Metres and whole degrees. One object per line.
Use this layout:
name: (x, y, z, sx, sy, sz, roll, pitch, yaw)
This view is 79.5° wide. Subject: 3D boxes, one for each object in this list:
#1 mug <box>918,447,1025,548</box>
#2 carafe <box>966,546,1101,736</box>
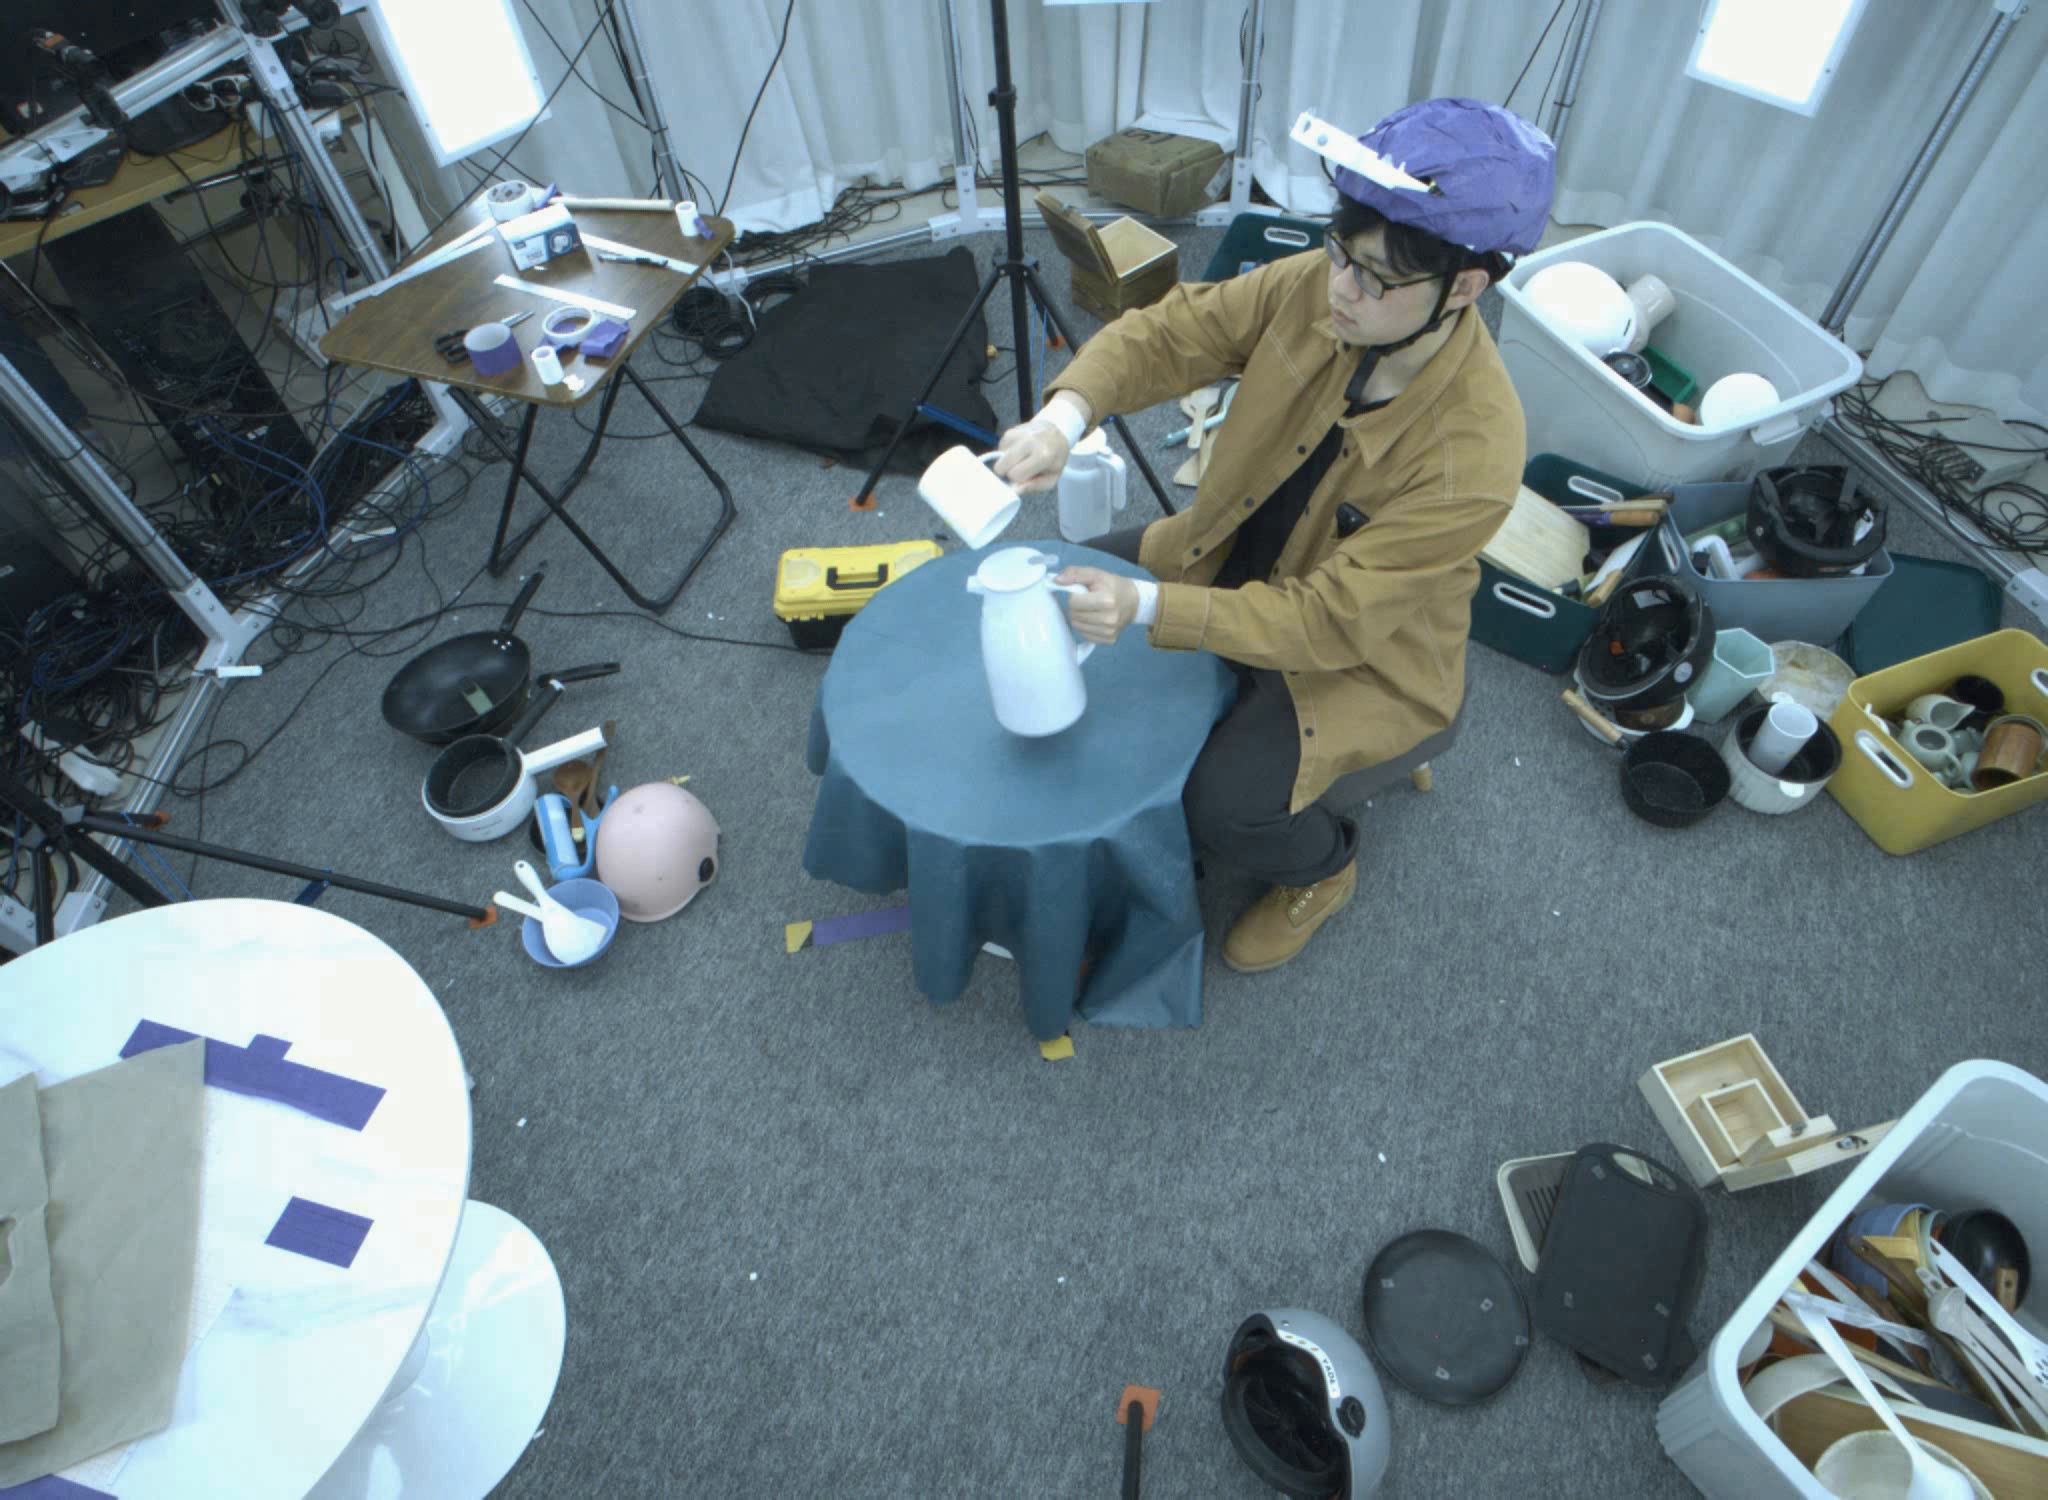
mug: (-0.060, -0.327, 1.519, 0.118, 0.085, 0.101, -44, 86, -10)
carafe: (0.022, -0.154, 1.649, 0.167, 0.252, 0.131, -6, 44, 6)
